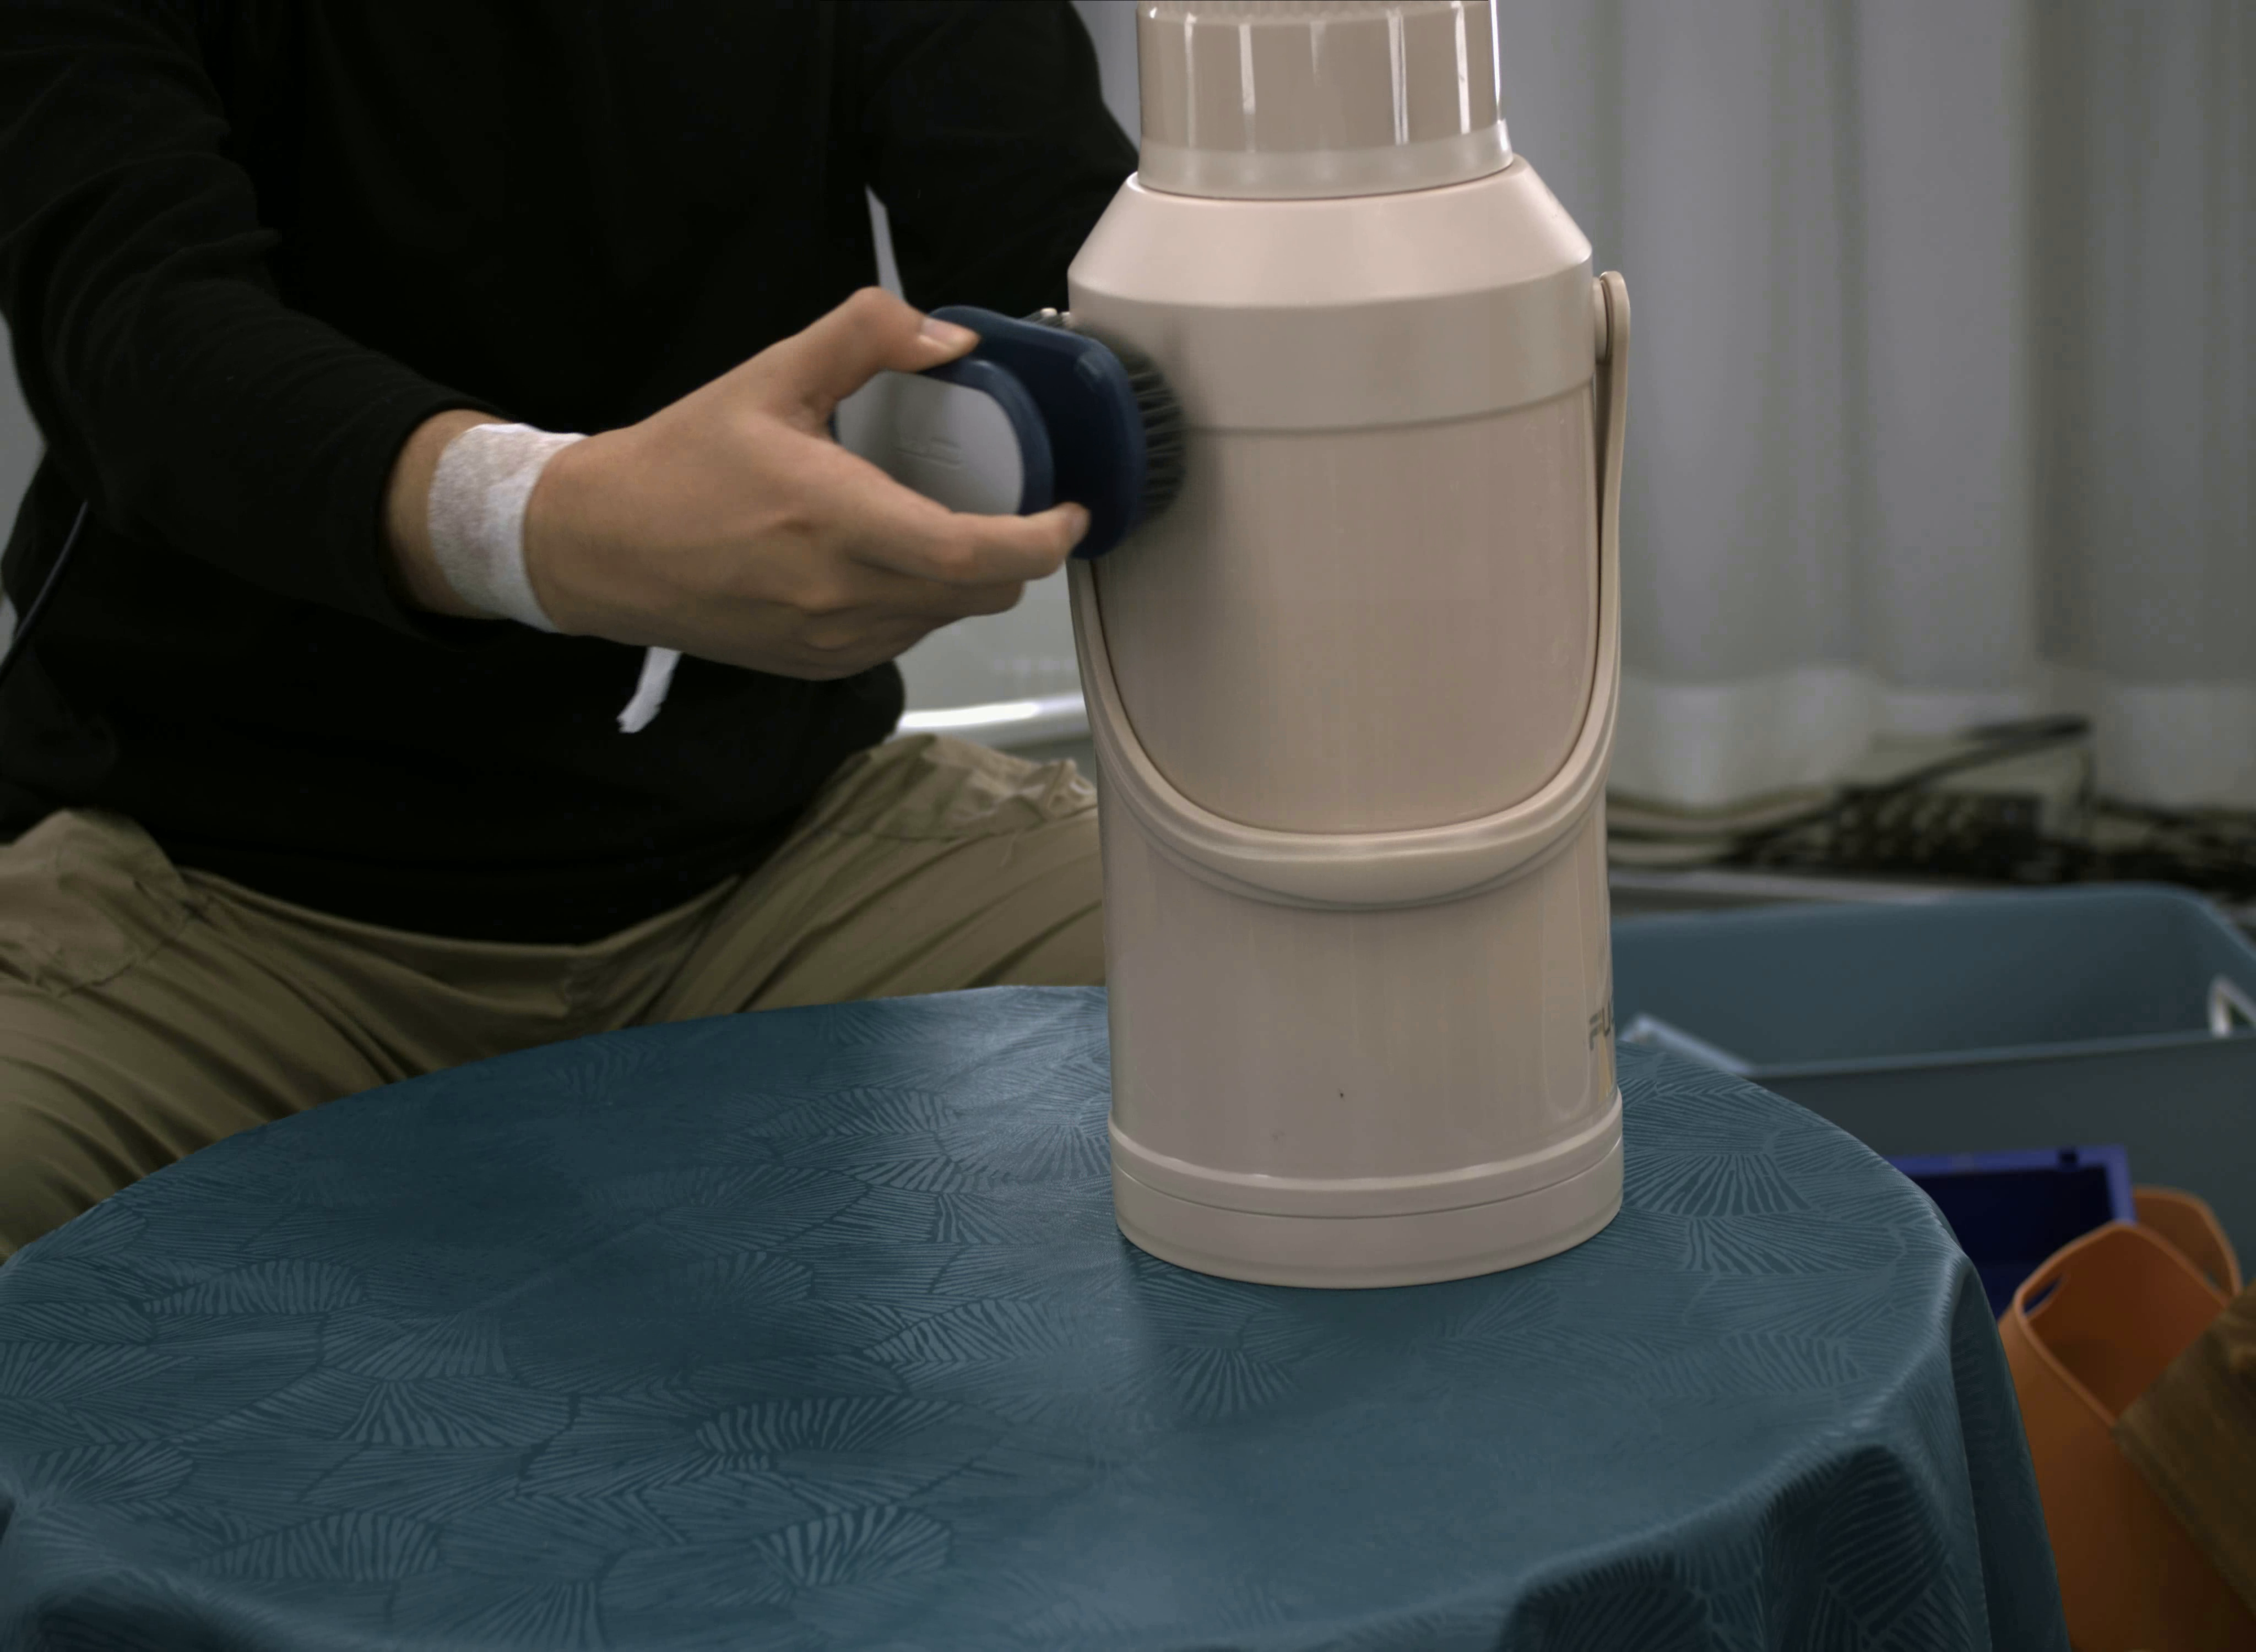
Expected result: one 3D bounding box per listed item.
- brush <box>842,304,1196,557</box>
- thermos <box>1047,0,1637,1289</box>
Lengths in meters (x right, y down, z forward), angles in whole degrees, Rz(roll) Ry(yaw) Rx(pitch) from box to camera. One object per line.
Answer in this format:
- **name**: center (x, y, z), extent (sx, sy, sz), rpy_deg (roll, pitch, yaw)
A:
- **brush**: center (-0.030, -0.115, 1.591), extent (0.061, 0.067, 0.122), rpy_deg (-13, 22, -32)
- **thermos**: center (0.067, -0.078, 1.661), extent (0.174, 0.405, 0.208), rpy_deg (-5, 14, -4)
